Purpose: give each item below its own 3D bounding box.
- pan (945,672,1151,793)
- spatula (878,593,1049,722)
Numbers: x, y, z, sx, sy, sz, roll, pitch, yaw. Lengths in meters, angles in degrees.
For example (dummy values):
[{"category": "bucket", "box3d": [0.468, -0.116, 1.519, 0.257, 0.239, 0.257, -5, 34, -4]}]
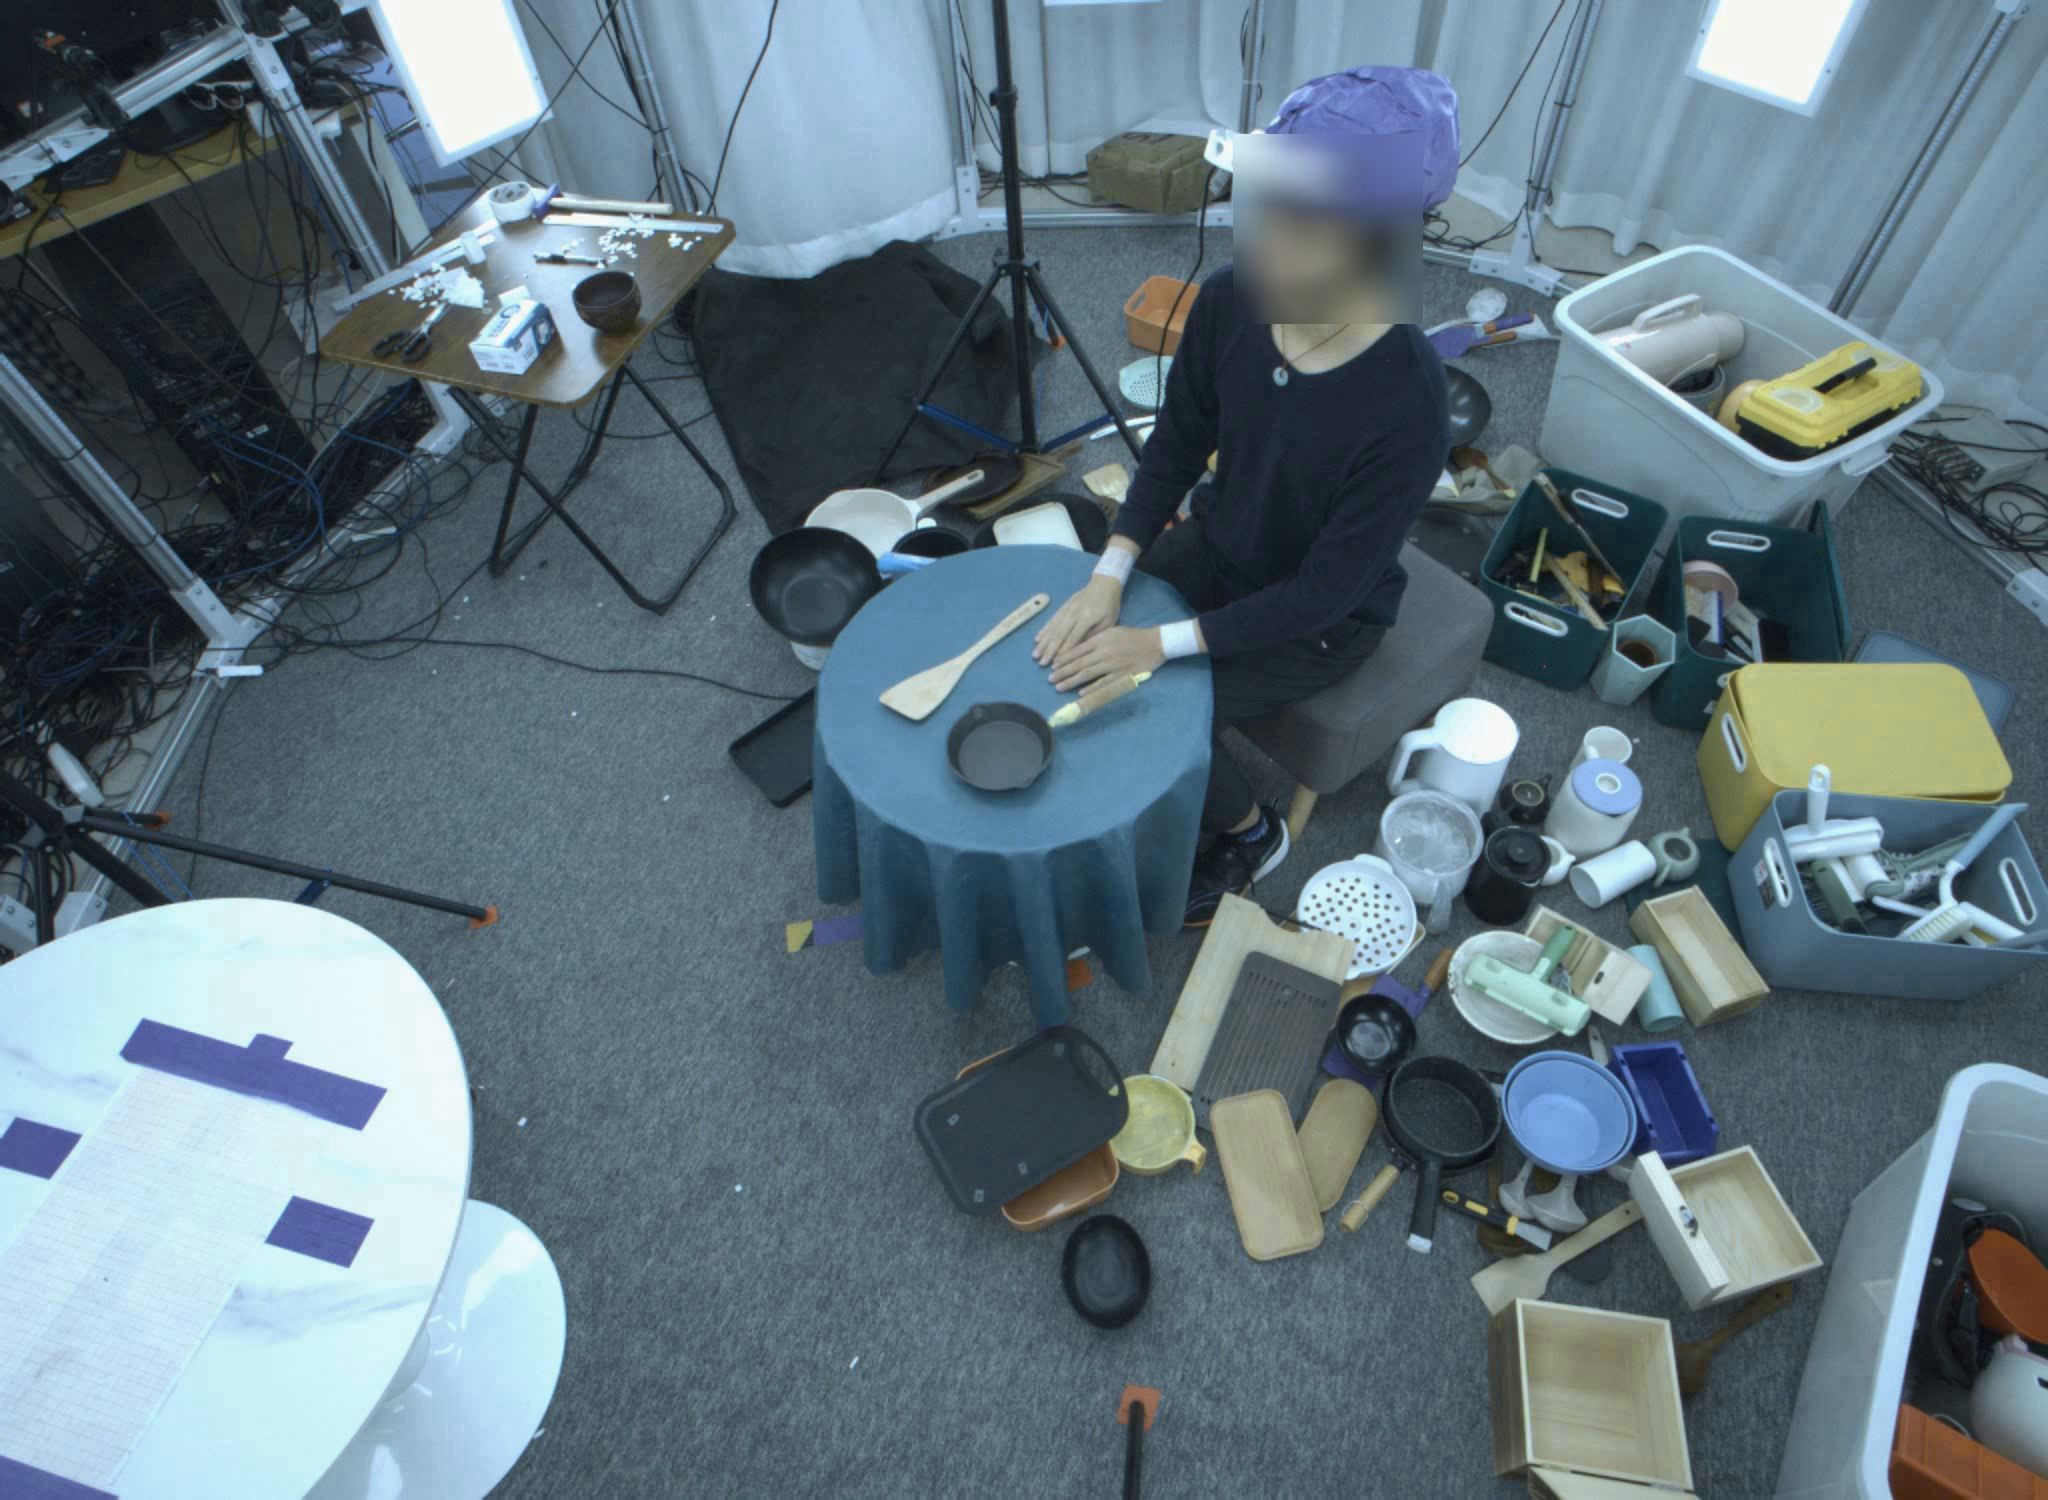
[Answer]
[{"category": "pan", "box3d": [0.042, -0.037, 1.781, 0.326, 0.050, 0.166, -24, 57, -12]}, {"category": "spatula", "box3d": [-0.079, -0.149, 1.886, 0.078, 0.017, 0.330, 38, 64, 24]}]
